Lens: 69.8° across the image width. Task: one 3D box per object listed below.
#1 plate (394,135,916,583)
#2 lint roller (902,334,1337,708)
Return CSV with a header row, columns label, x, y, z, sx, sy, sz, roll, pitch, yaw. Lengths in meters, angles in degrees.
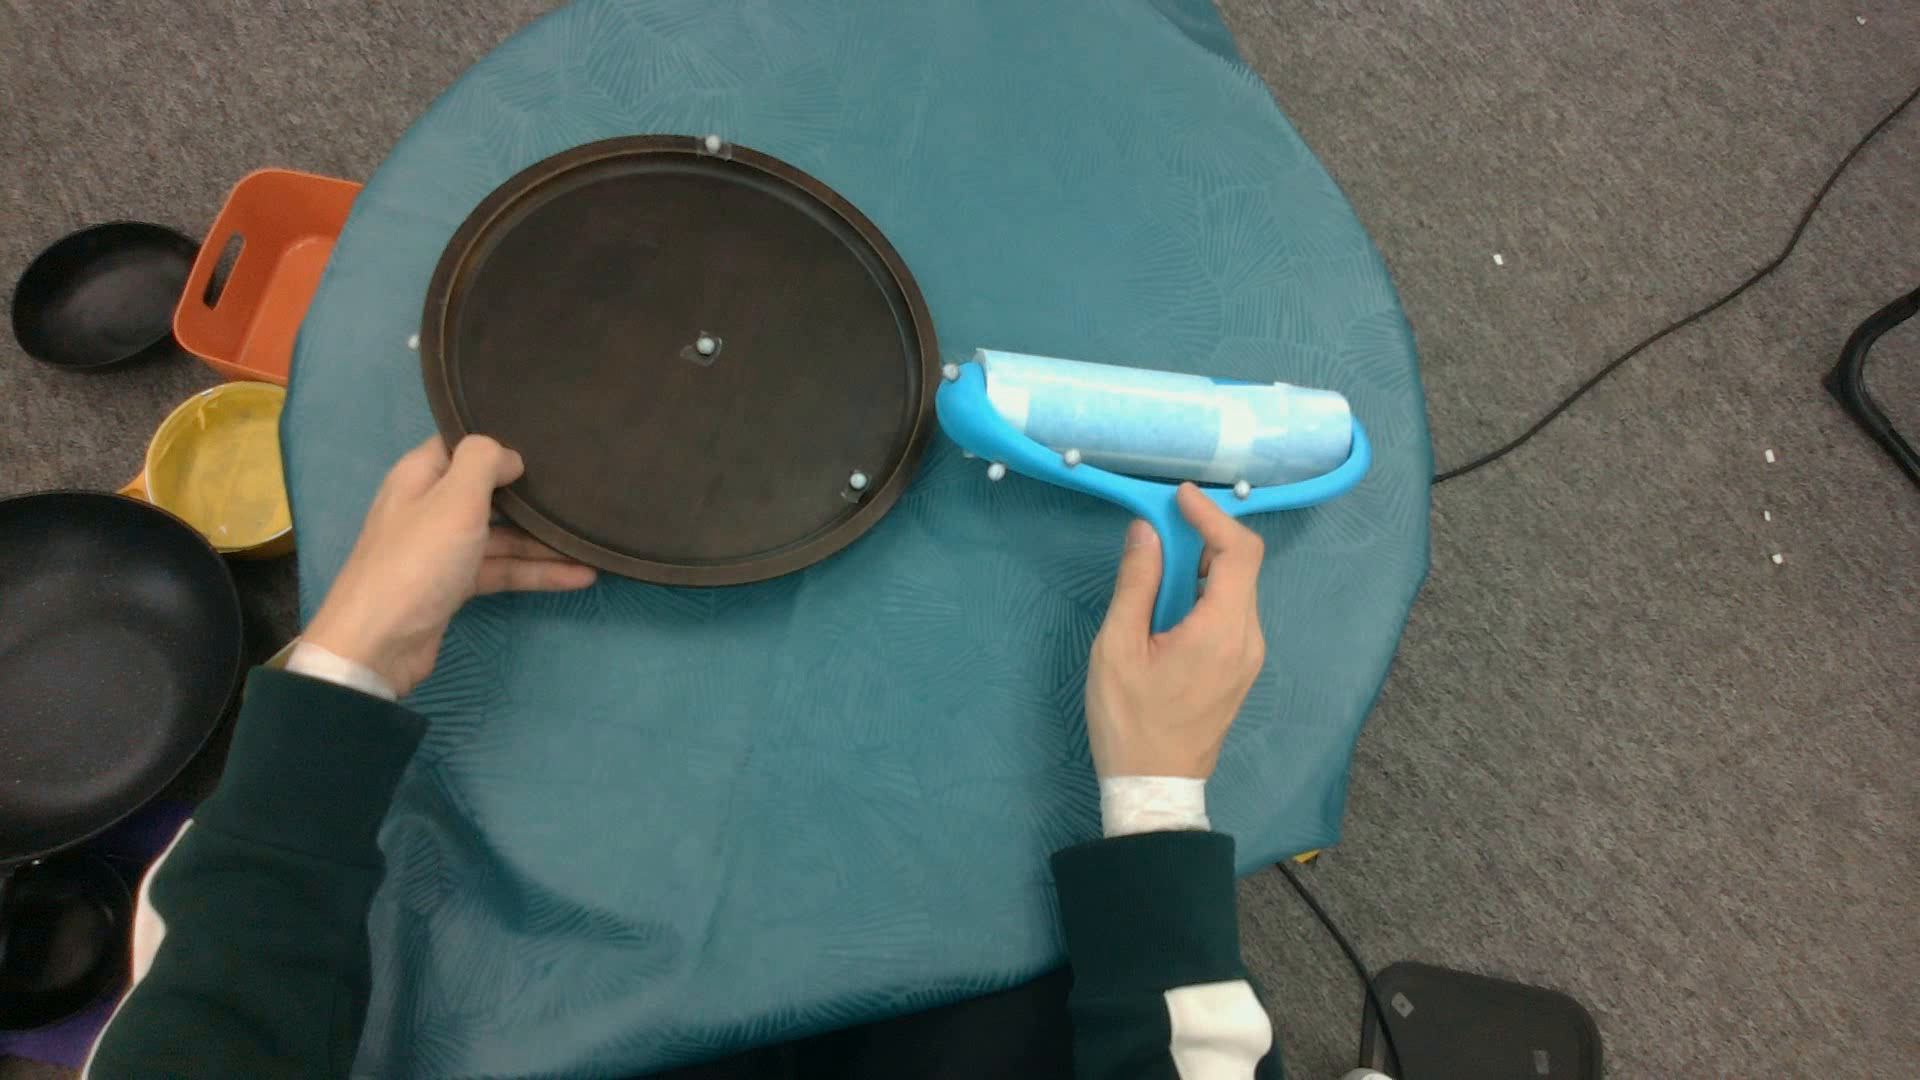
label,x,y,z,sx,sy,sz,roll,pitch,yaw
plate,-0.147,-0.095,0.690,0.255,0.029,0.255,6,64,-13
lint roller,0.088,-0.012,0.674,0.229,0.067,0.180,0,73,-20
